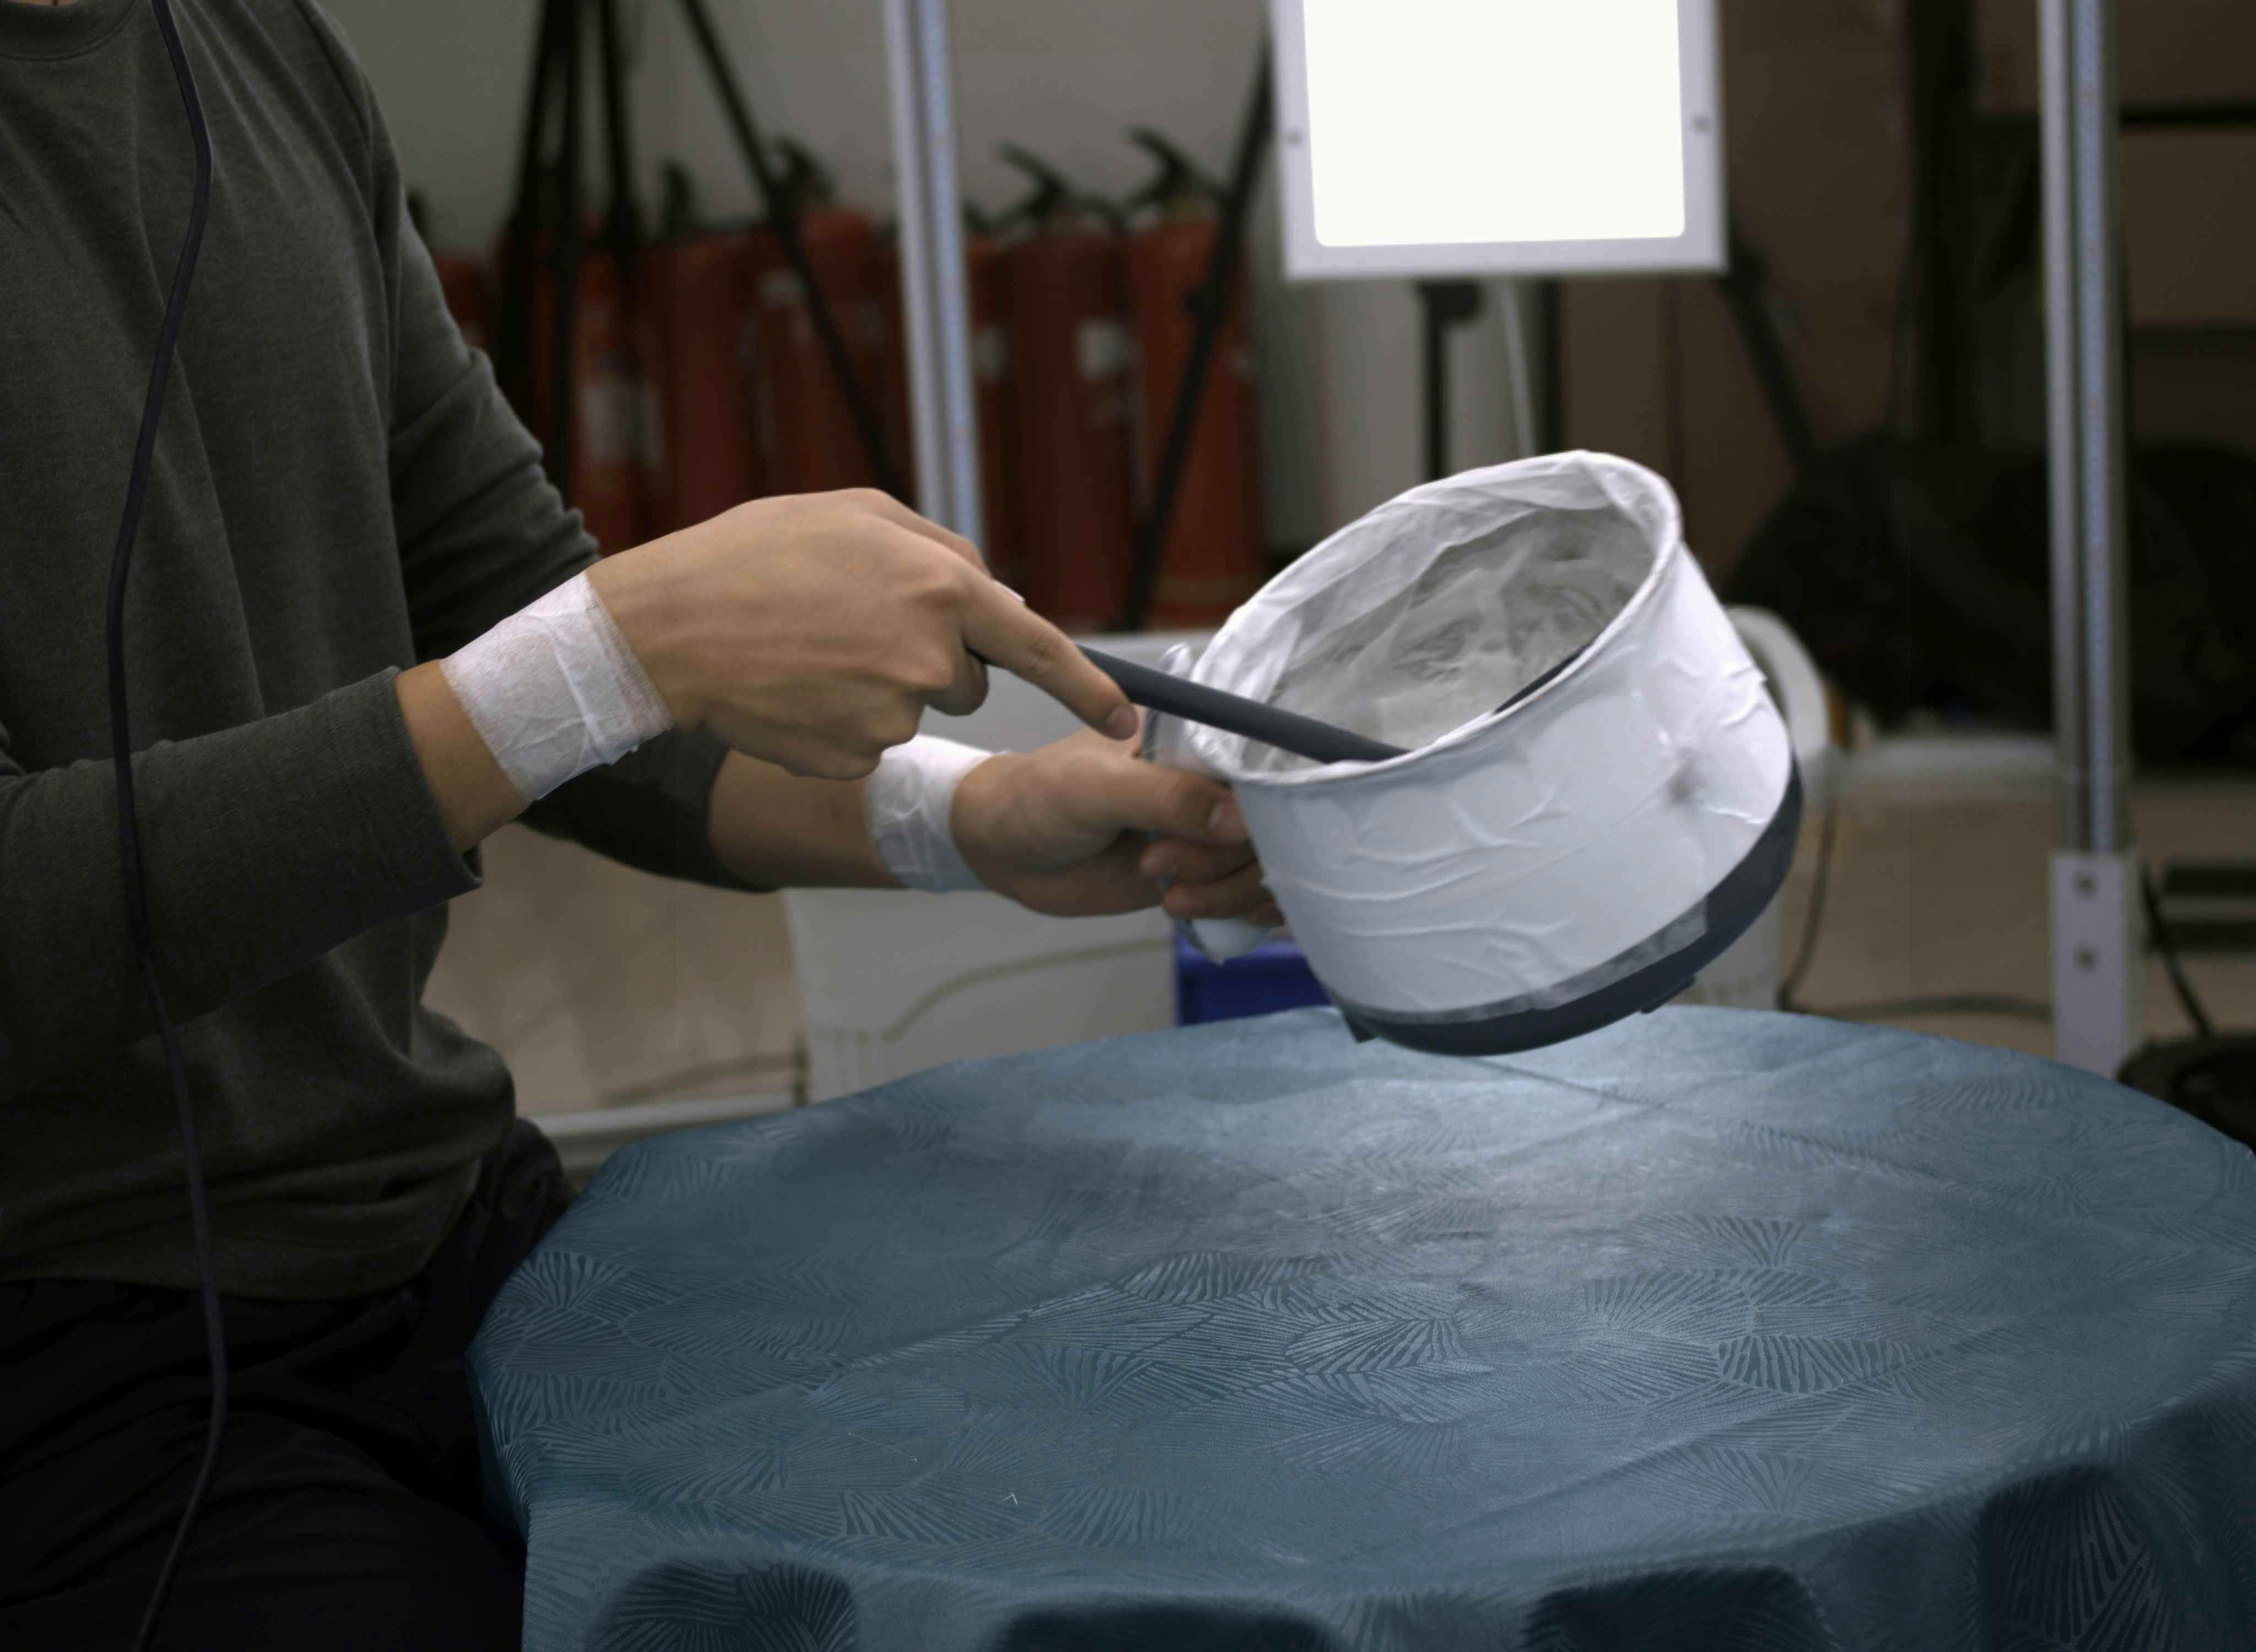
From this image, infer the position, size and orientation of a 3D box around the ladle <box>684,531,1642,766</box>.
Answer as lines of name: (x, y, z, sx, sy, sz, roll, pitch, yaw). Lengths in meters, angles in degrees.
ladle: (0.014, -0.067, 1.770, 0.314, 0.063, 0.087, 16, -25, 4)

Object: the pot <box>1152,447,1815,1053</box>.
pot: (0.106, -0.017, 1.826, 0.238, 0.136, 0.176, -10, 31, 34)
